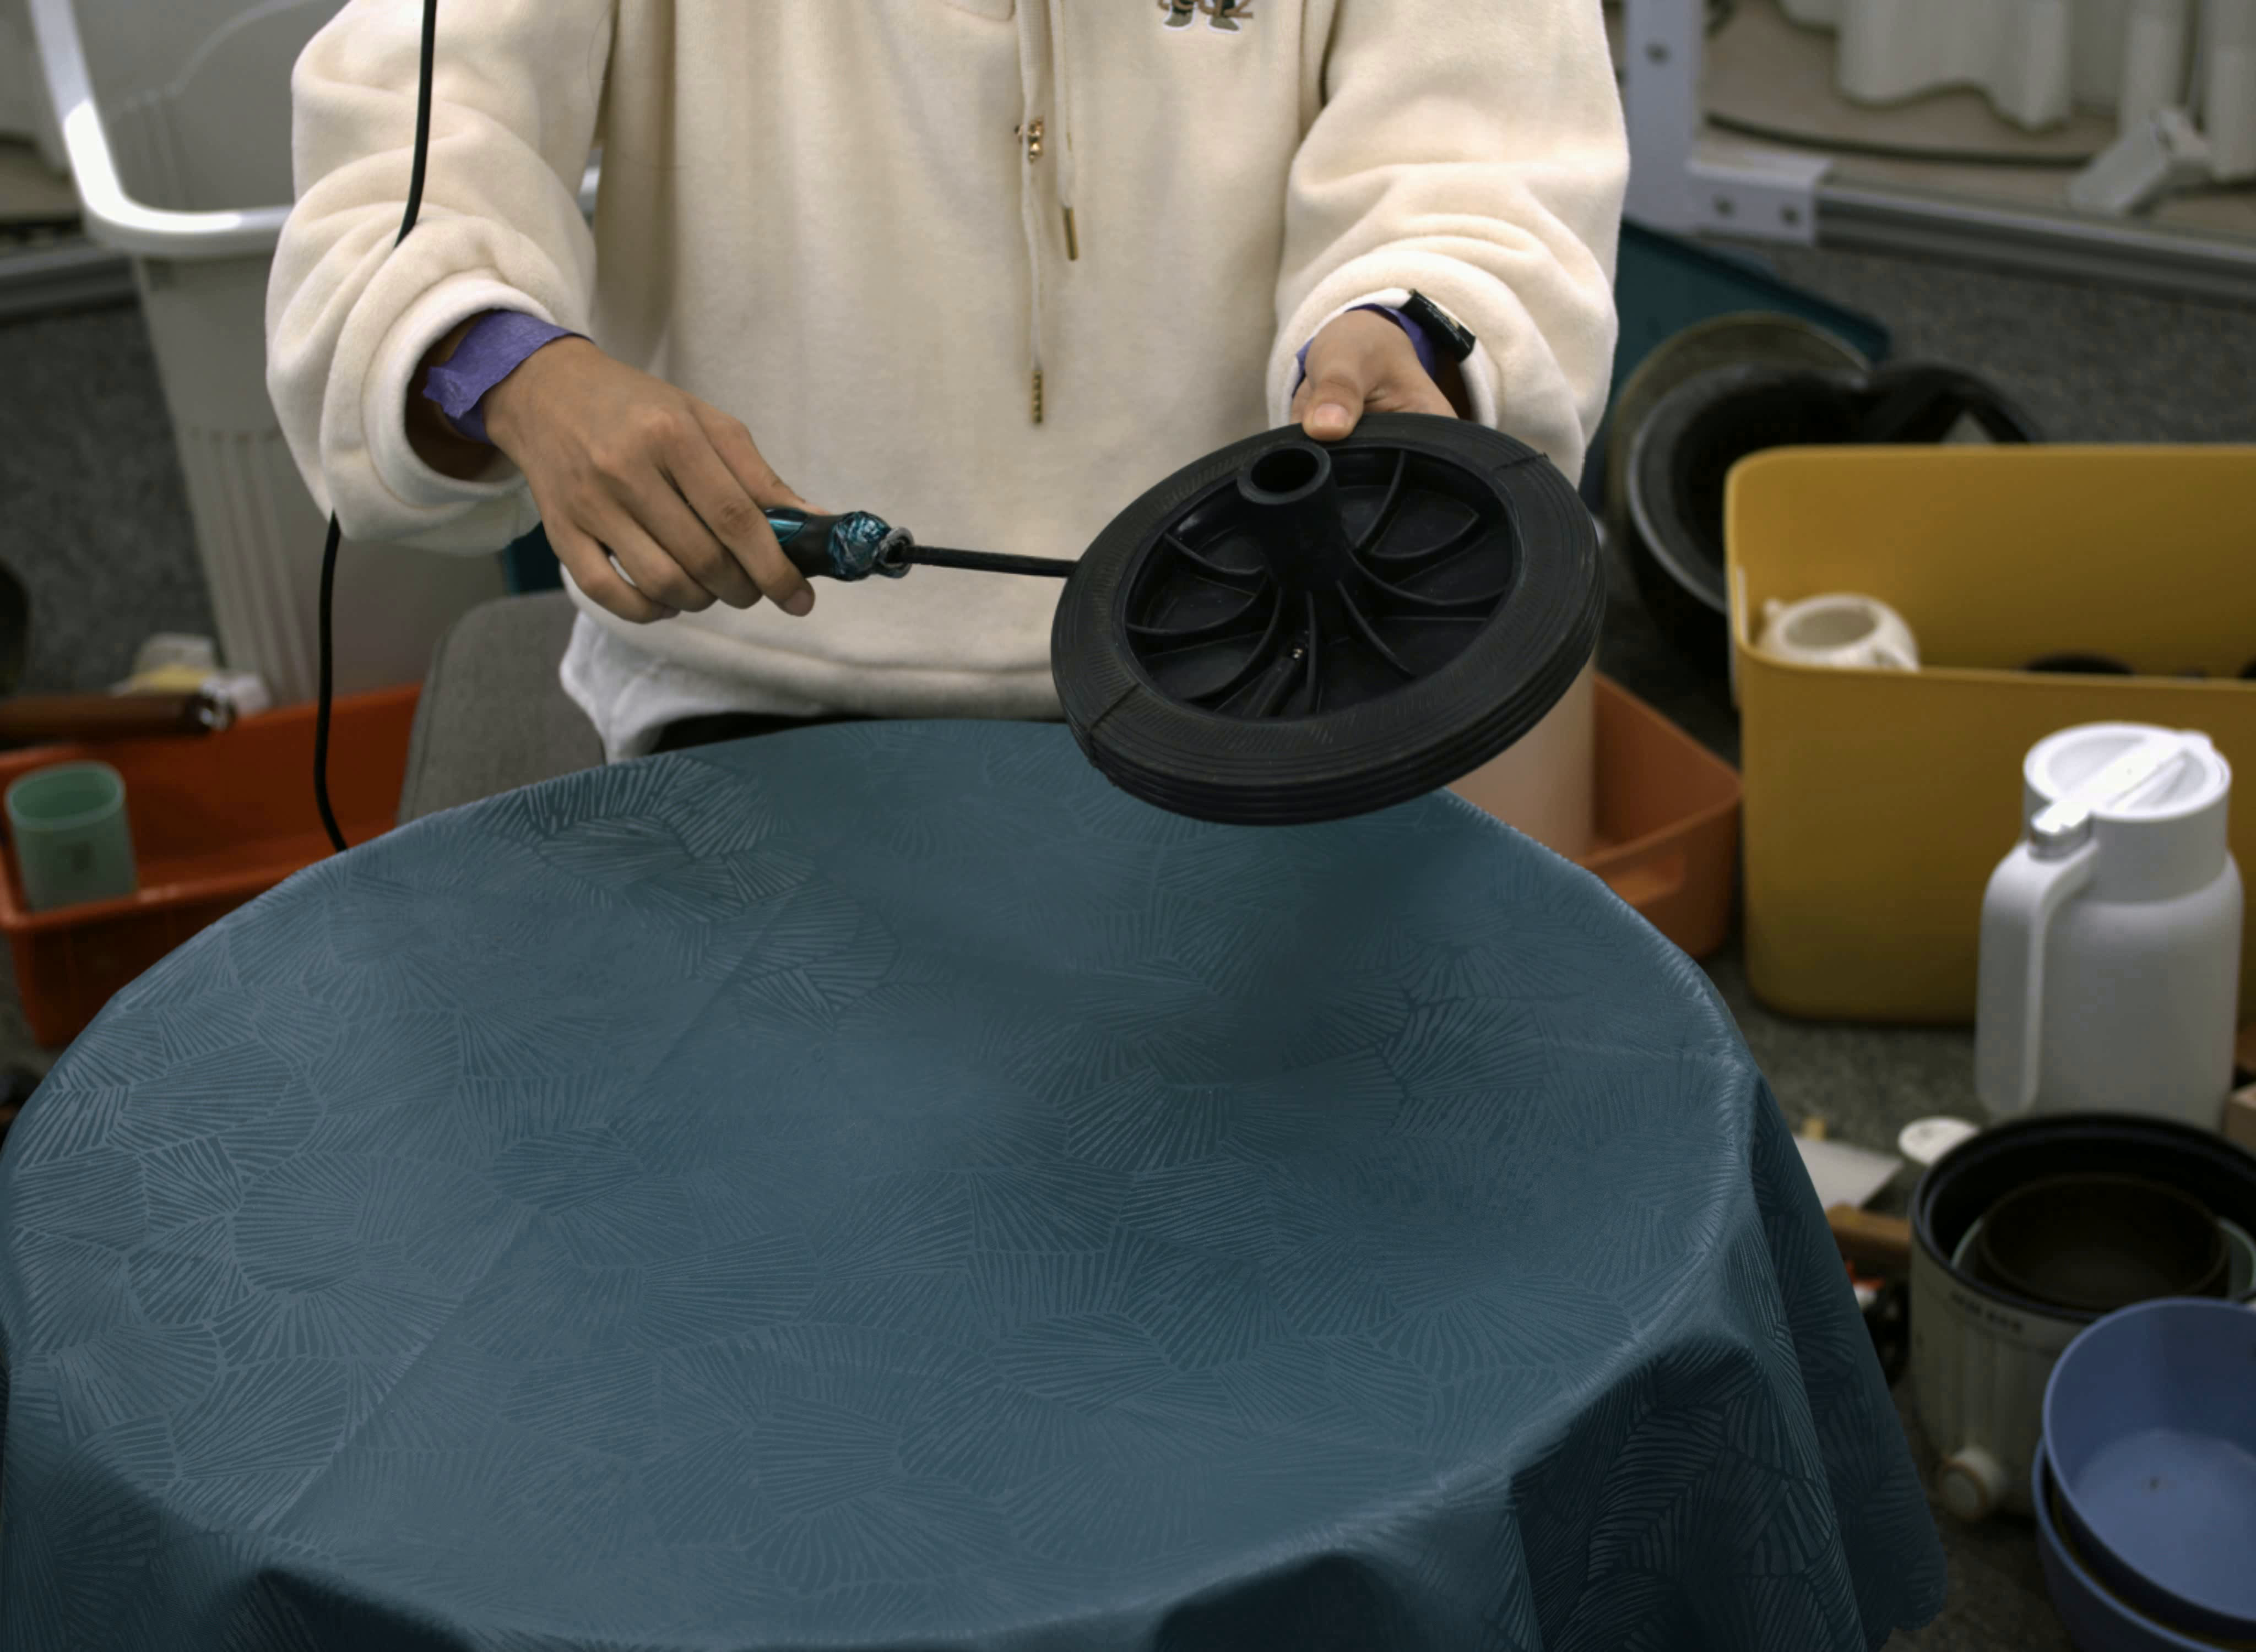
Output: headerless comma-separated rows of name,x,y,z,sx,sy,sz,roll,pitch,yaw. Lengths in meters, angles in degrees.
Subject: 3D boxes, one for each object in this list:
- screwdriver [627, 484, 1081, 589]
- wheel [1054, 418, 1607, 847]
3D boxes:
screwdriver,-0.095,-0.096,1.955,0.188,0.033,0.034,8,28,32
wheel,0.062,-0.082,1.866,0.186,0.078,0.194,-7,43,12
